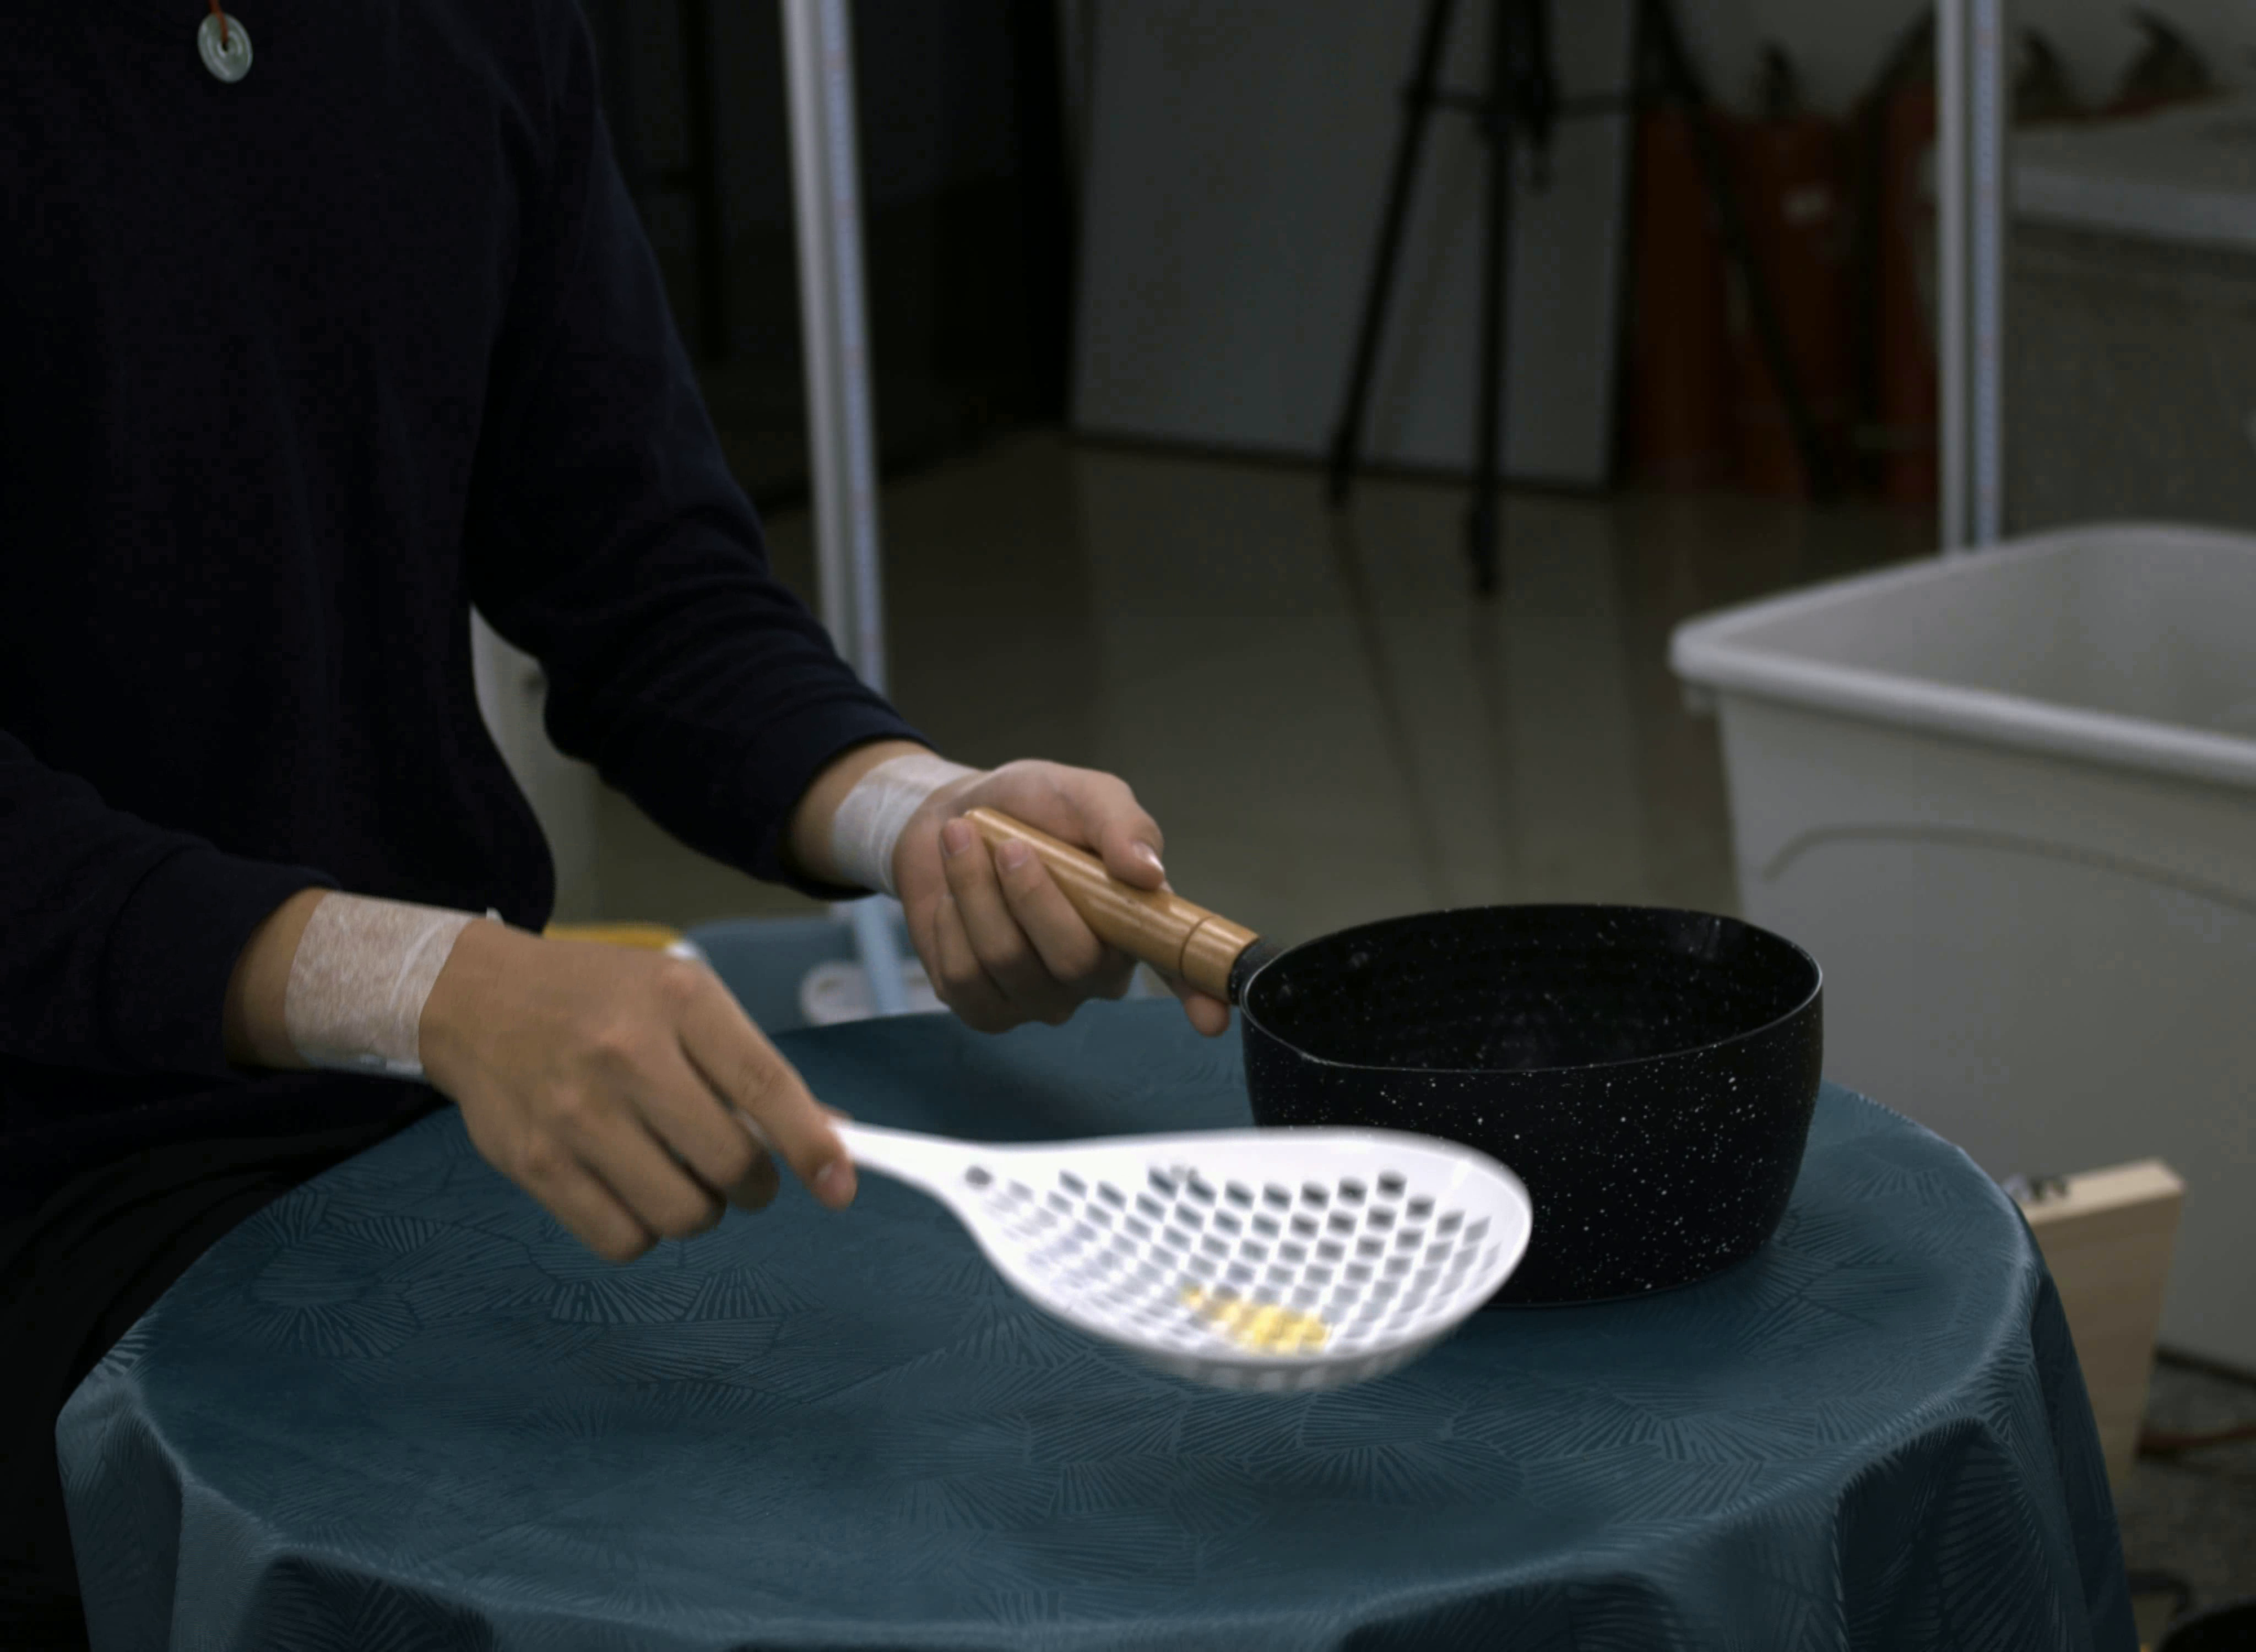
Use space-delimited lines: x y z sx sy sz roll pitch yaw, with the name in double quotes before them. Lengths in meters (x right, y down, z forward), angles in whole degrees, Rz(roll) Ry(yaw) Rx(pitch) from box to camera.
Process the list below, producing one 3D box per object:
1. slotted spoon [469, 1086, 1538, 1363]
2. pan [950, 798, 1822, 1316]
"slotted spoon" -0.046 0.103 1.559 0.349 0.051 0.135 12 29 29
"pan" 0.068 0.067 1.742 0.346 0.109 0.203 10 21 42
